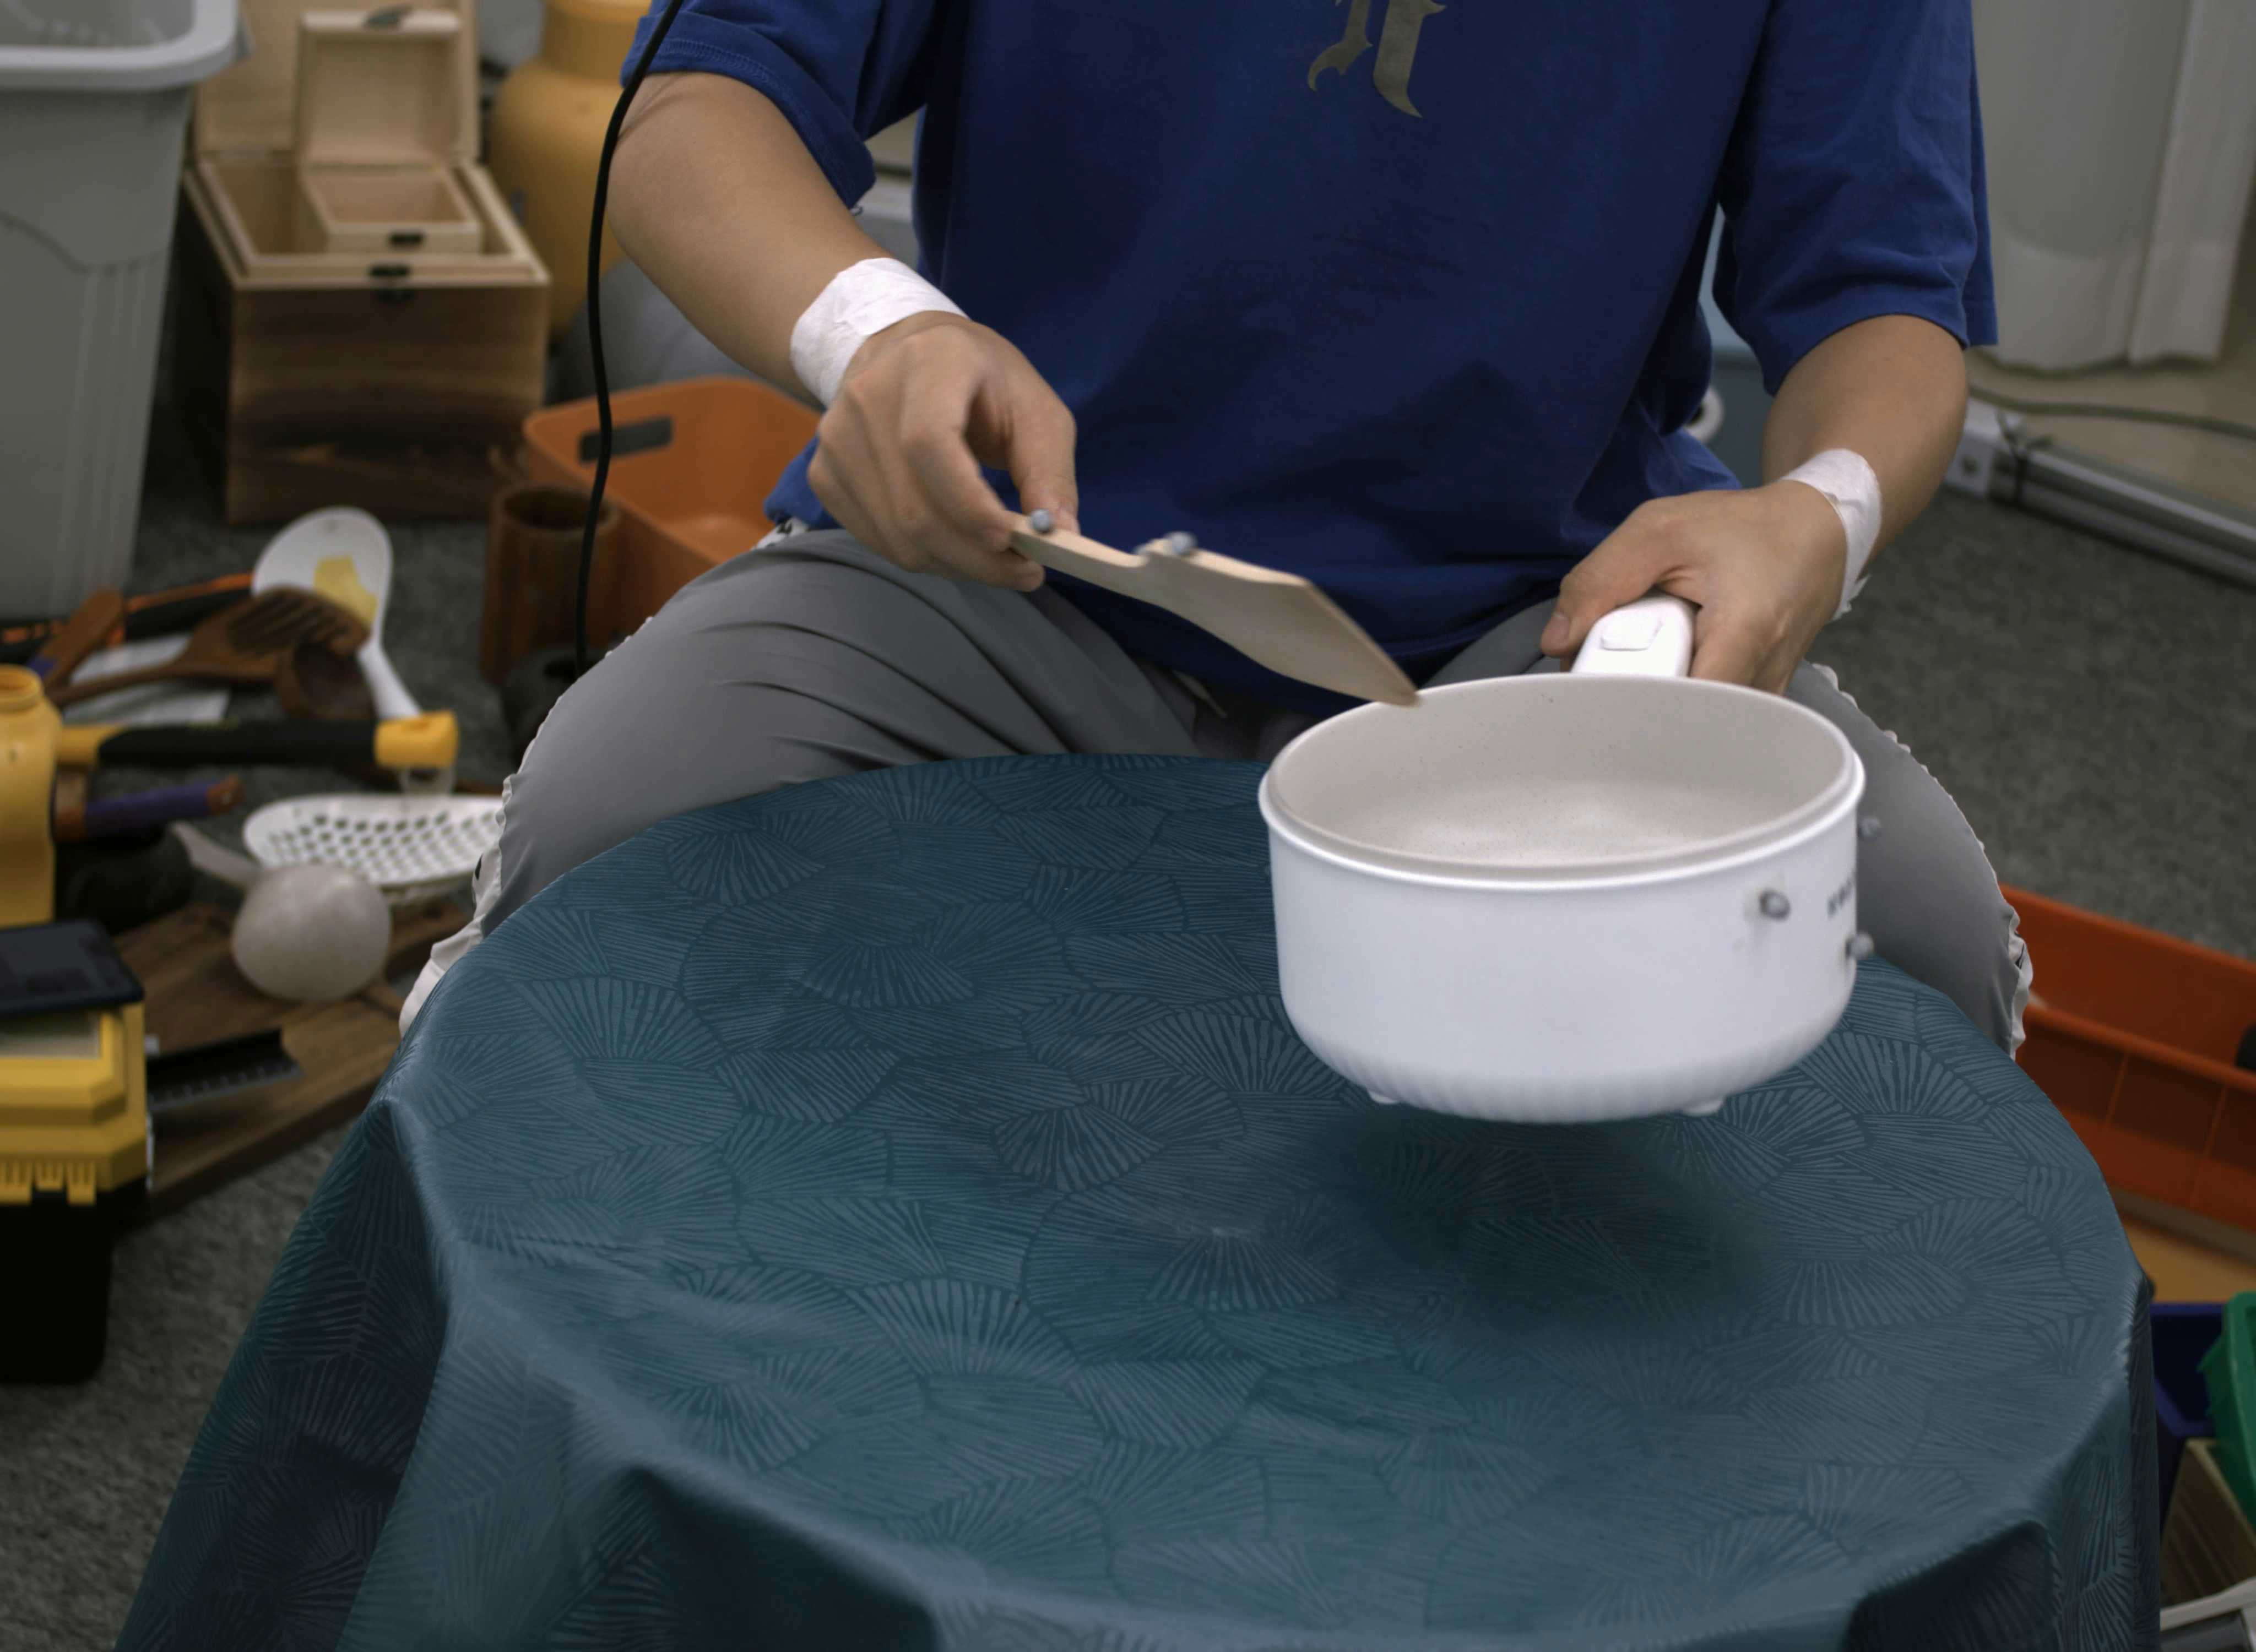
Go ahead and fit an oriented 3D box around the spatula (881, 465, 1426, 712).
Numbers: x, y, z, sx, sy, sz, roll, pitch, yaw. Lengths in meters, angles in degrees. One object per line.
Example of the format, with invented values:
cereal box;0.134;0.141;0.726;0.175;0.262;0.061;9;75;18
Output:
spatula;-0.004;-0.090;1.821;0.010;0.071;0.295;-53;35;-10

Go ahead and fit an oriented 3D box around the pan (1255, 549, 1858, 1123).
pan;0.164;0.000;1.855;0.201;0.102;0.355;-2;19;15
